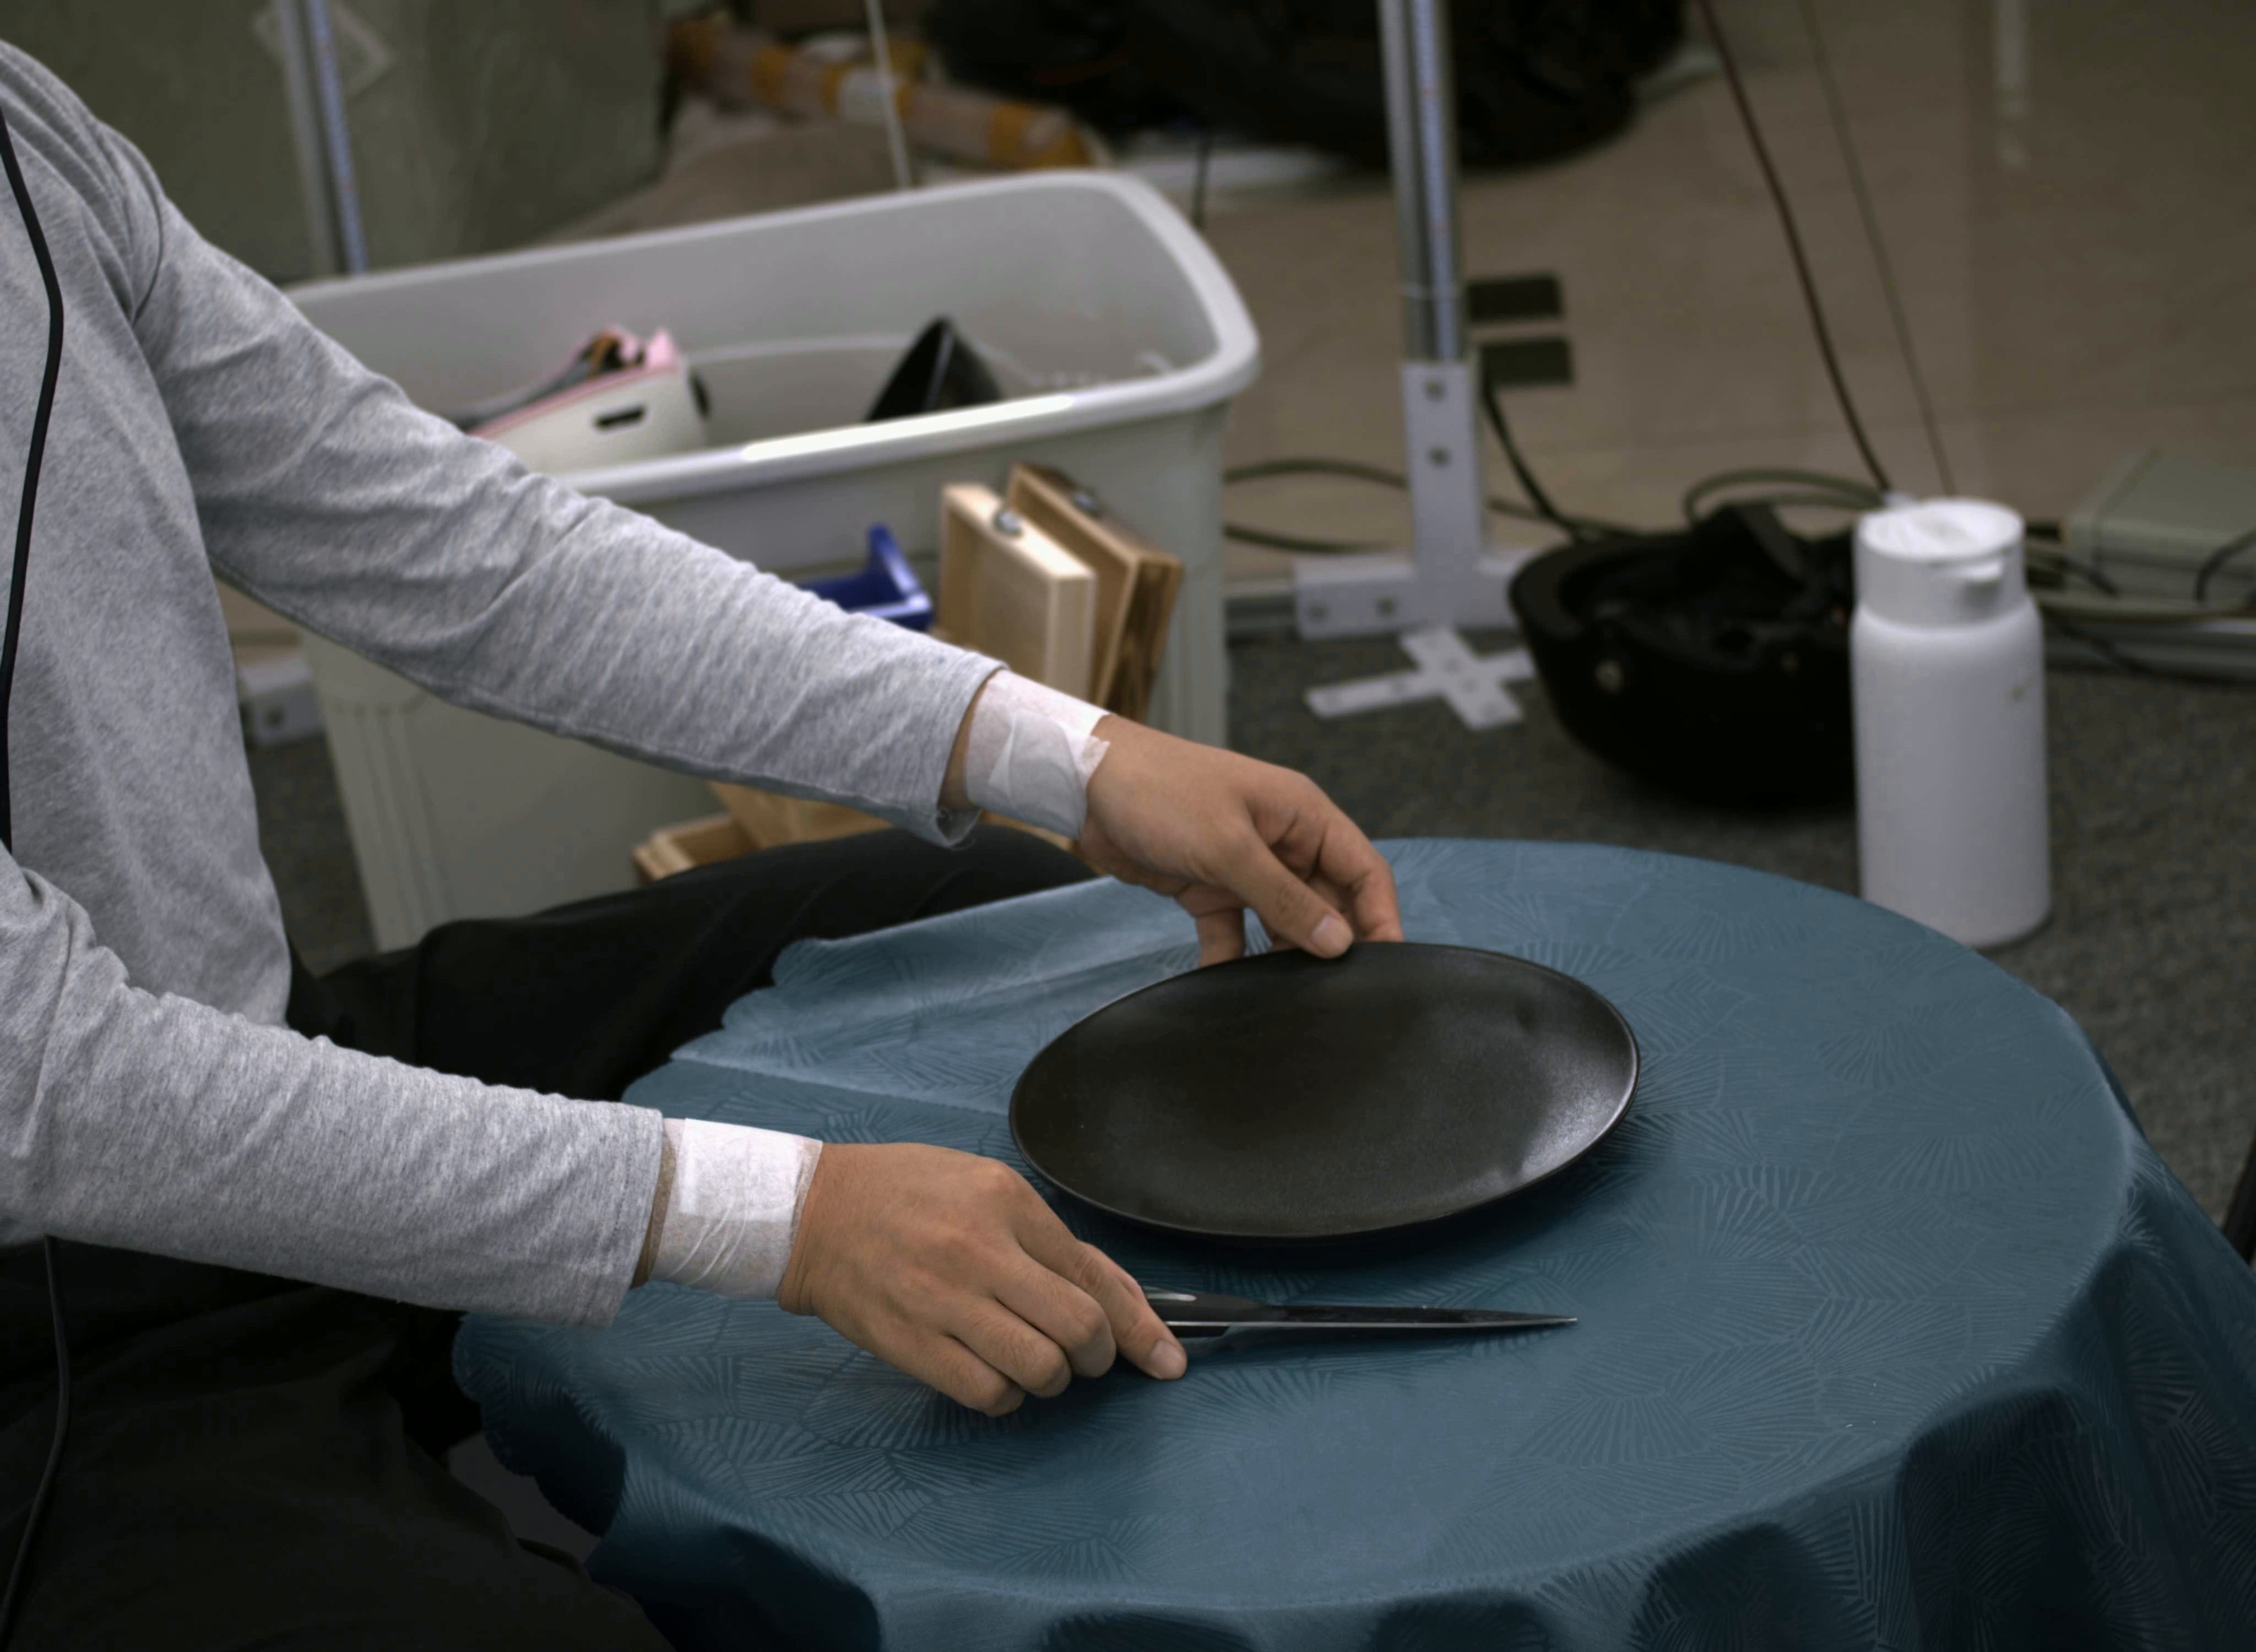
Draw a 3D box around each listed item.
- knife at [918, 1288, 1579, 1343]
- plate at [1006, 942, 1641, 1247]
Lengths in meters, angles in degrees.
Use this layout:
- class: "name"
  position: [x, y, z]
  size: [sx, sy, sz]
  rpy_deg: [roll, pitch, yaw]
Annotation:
- class: "knife"
  position: [0.043, 0.176, 2.036]
  size: [0.238, 0.016, 0.024]
  rpy_deg: [0, 18, 2]
- class: "plate"
  position: [0.075, 0.108, 2.174]
  size: [0.244, 0.024, 0.241]
  rpy_deg: [-5, 25, 3]
